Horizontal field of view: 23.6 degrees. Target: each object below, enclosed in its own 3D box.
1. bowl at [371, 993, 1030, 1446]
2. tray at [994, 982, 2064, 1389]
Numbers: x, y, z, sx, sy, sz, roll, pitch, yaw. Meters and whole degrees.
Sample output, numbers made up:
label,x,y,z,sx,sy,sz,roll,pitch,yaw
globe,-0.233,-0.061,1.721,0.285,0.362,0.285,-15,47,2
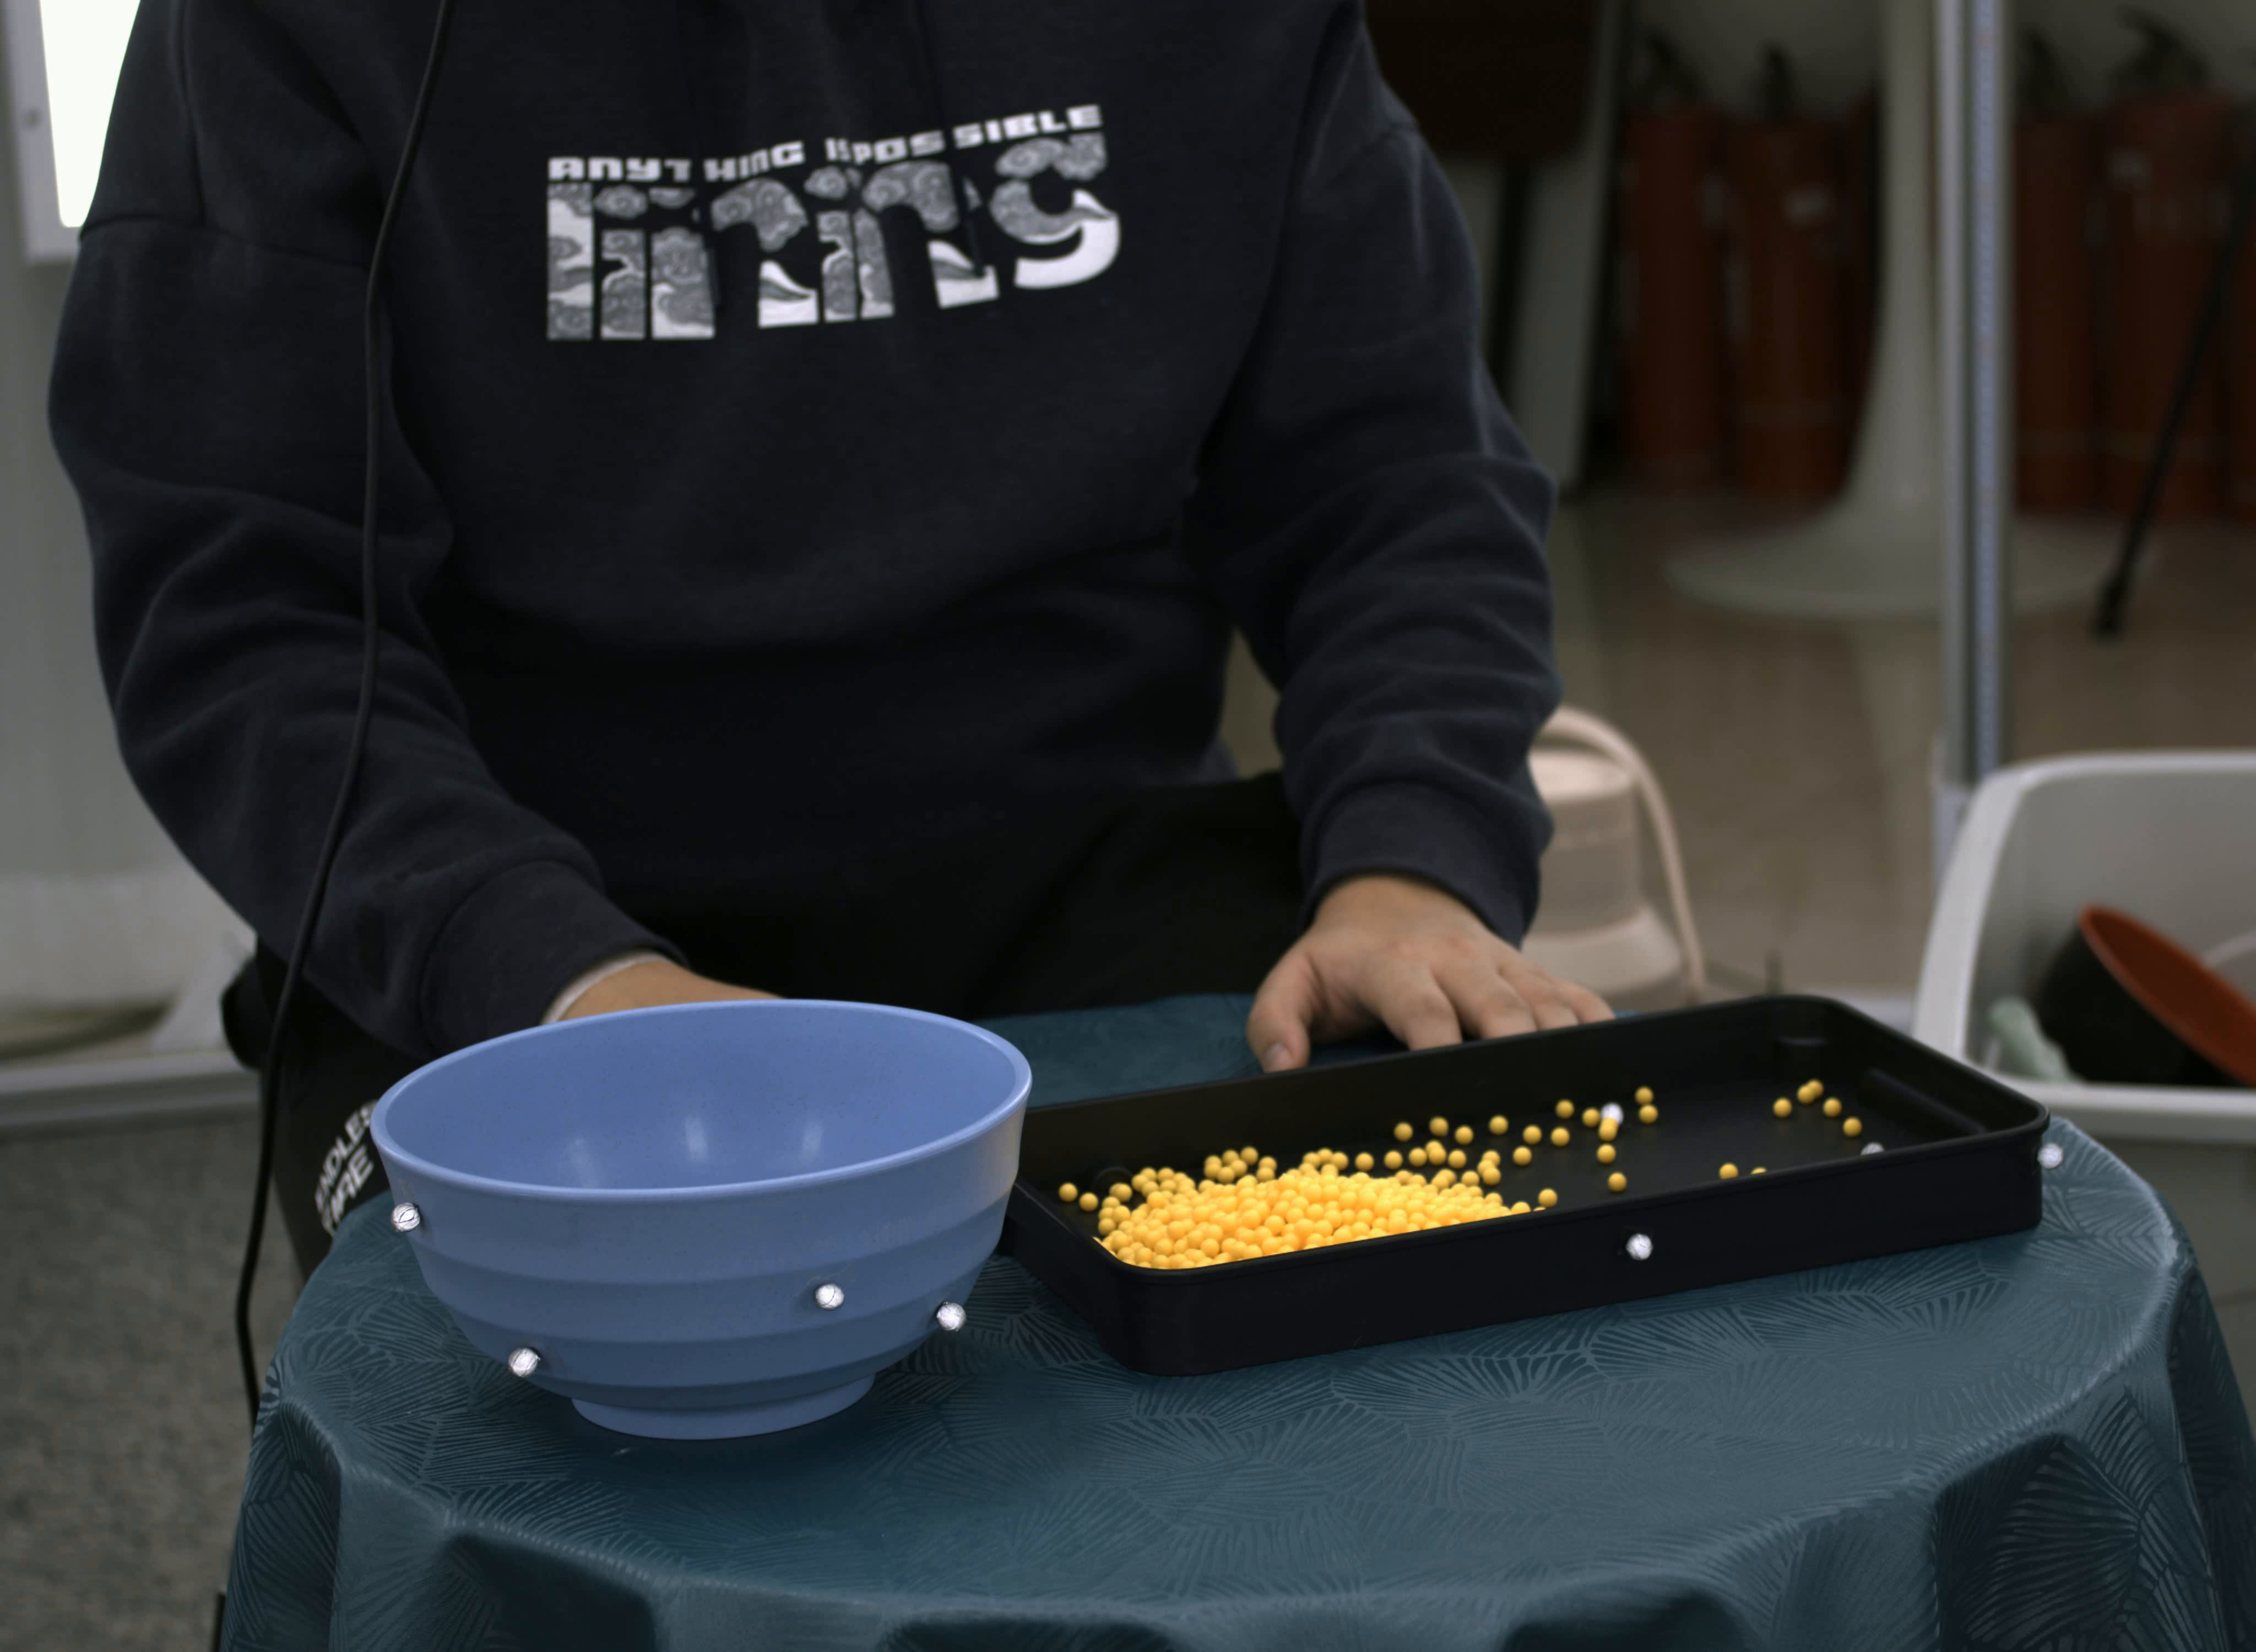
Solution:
label,x,y,z,sx,sy,sz,roll,pitch,yaw
bowl,-0.122,0.122,1.601,0.194,0.096,0.197,-5,15,0
tray,0.124,0.110,1.714,0.311,0.037,0.186,-10,14,-19
